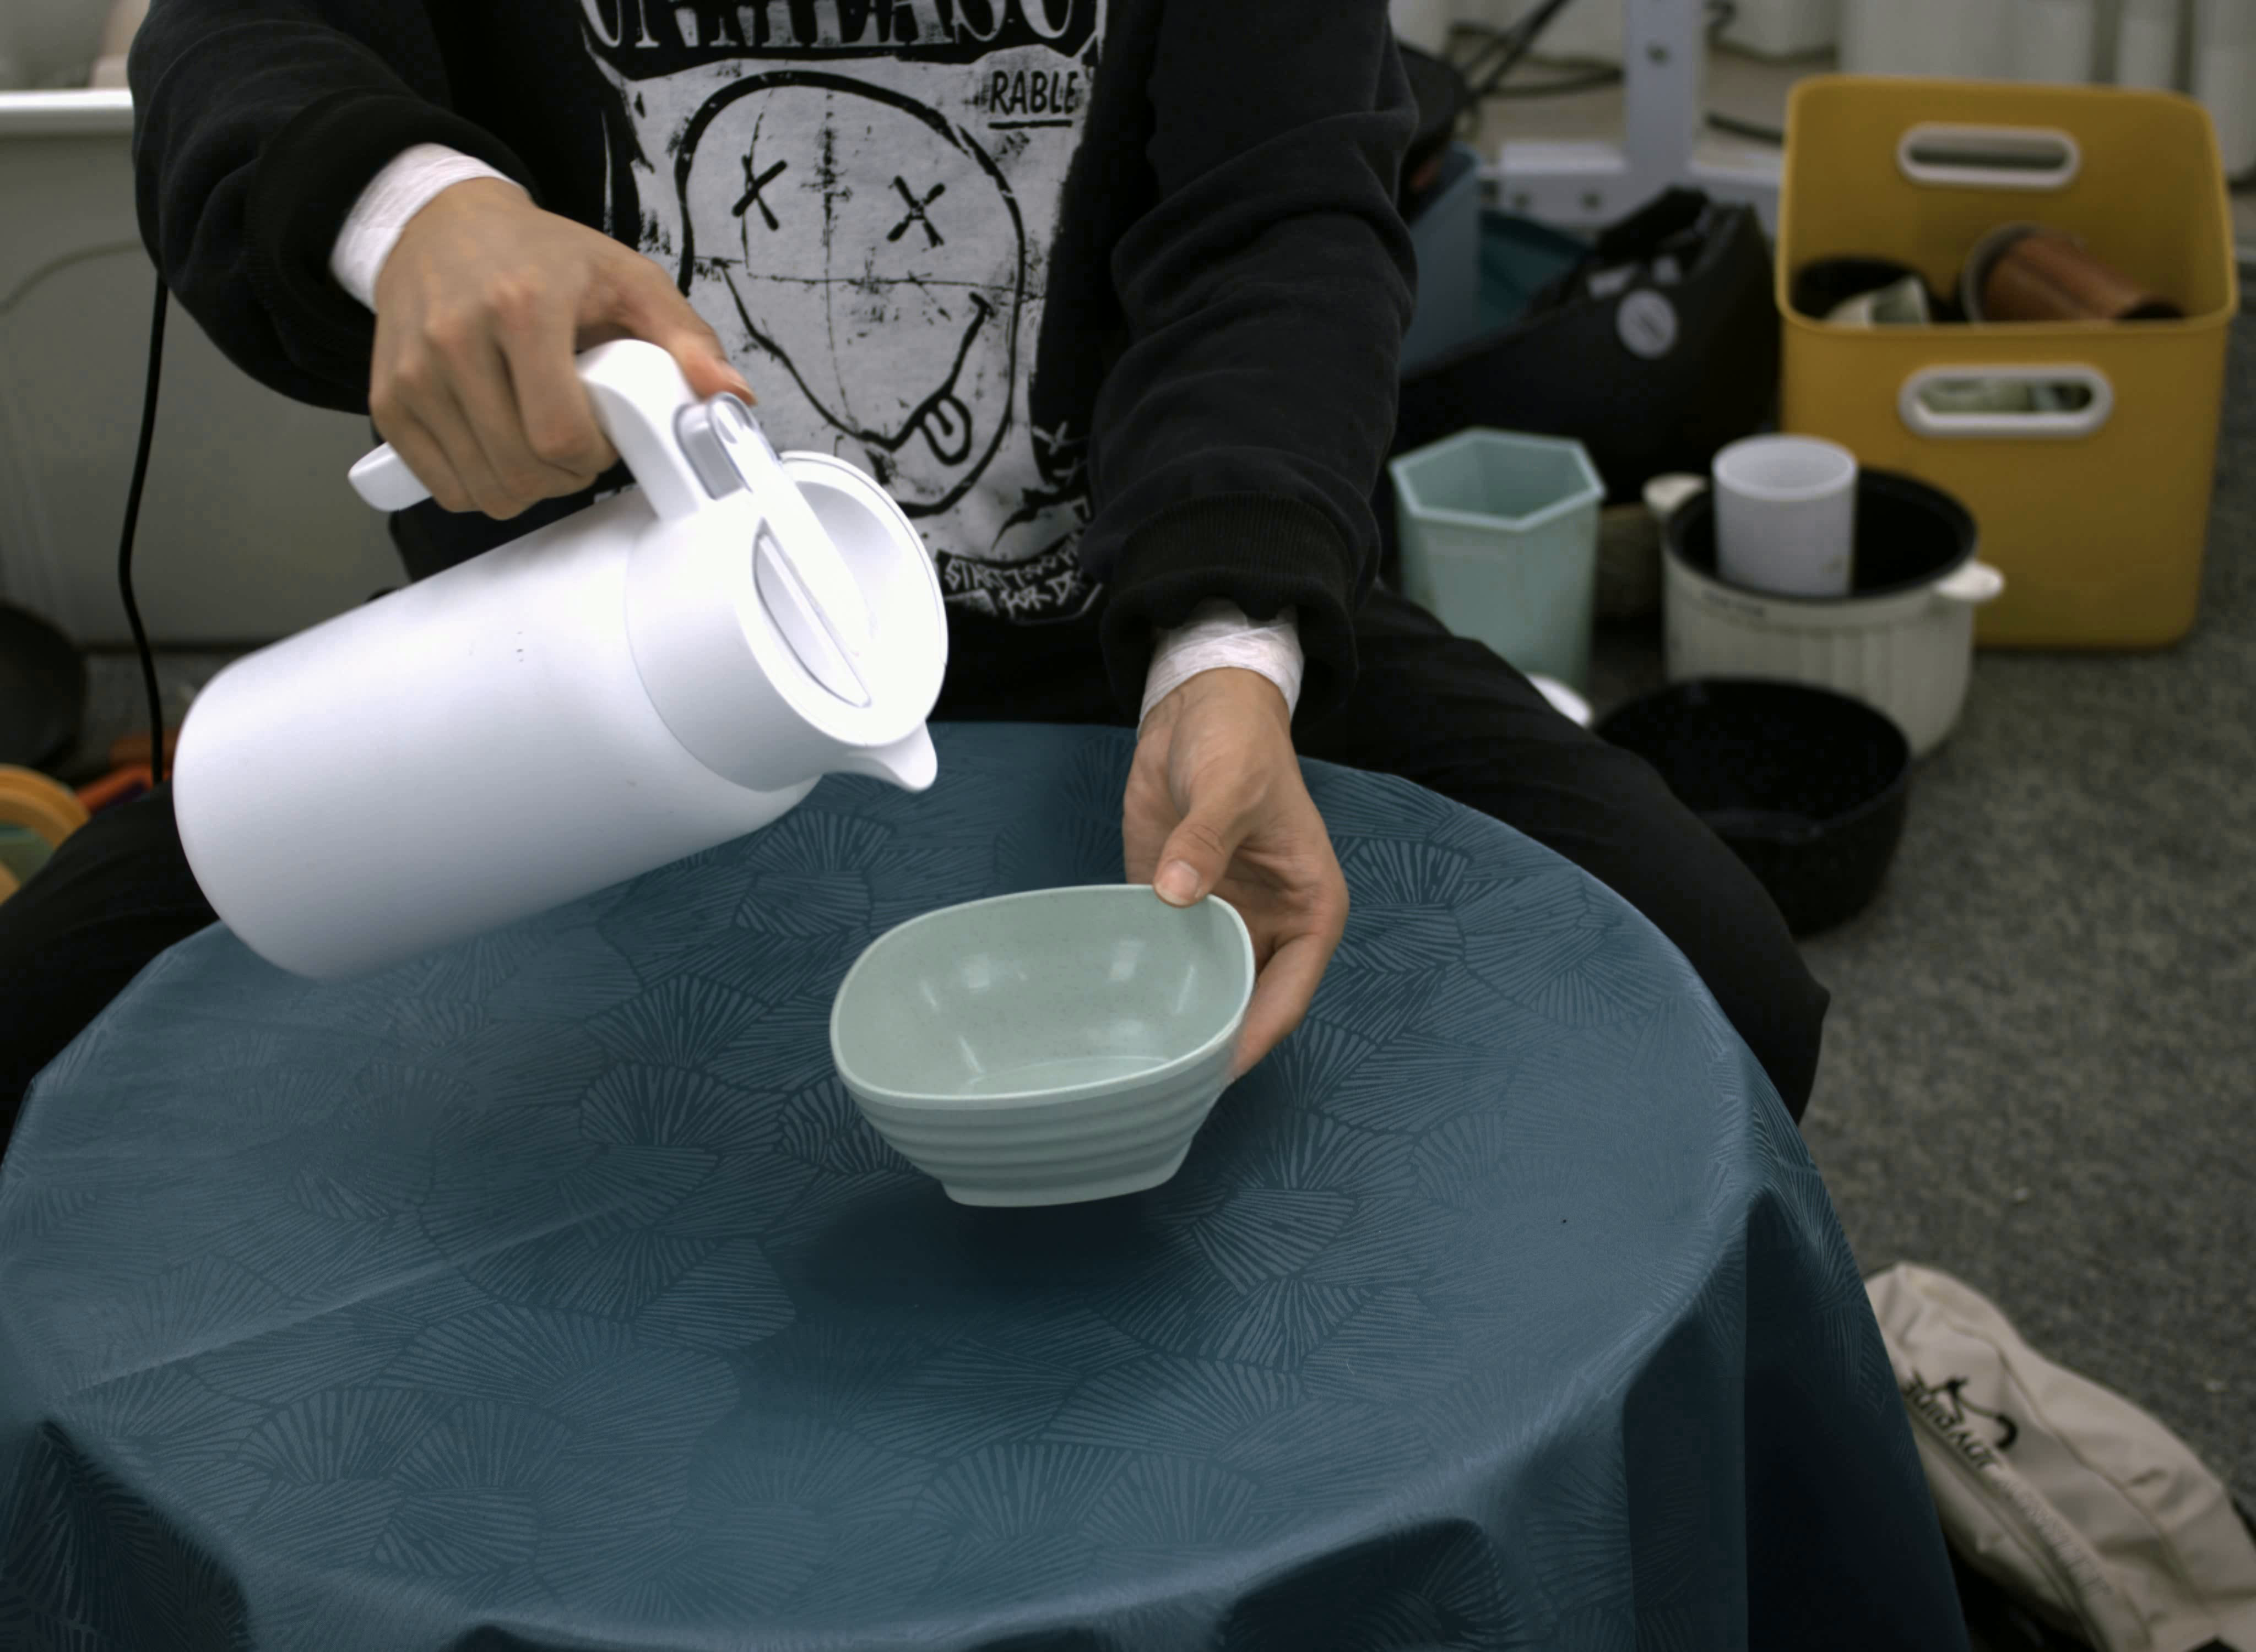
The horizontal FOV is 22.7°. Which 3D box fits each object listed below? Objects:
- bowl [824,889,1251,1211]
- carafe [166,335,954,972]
[{"bbox_3d":[-0.026,0.078,1.823,0.150,0.058,0.153,-7,26,4],"label":"bowl"},{"bbox_3d":[-0.197,-0.052,1.836,0.265,0.172,0.126,-18,19,38],"label":"carafe"}]
